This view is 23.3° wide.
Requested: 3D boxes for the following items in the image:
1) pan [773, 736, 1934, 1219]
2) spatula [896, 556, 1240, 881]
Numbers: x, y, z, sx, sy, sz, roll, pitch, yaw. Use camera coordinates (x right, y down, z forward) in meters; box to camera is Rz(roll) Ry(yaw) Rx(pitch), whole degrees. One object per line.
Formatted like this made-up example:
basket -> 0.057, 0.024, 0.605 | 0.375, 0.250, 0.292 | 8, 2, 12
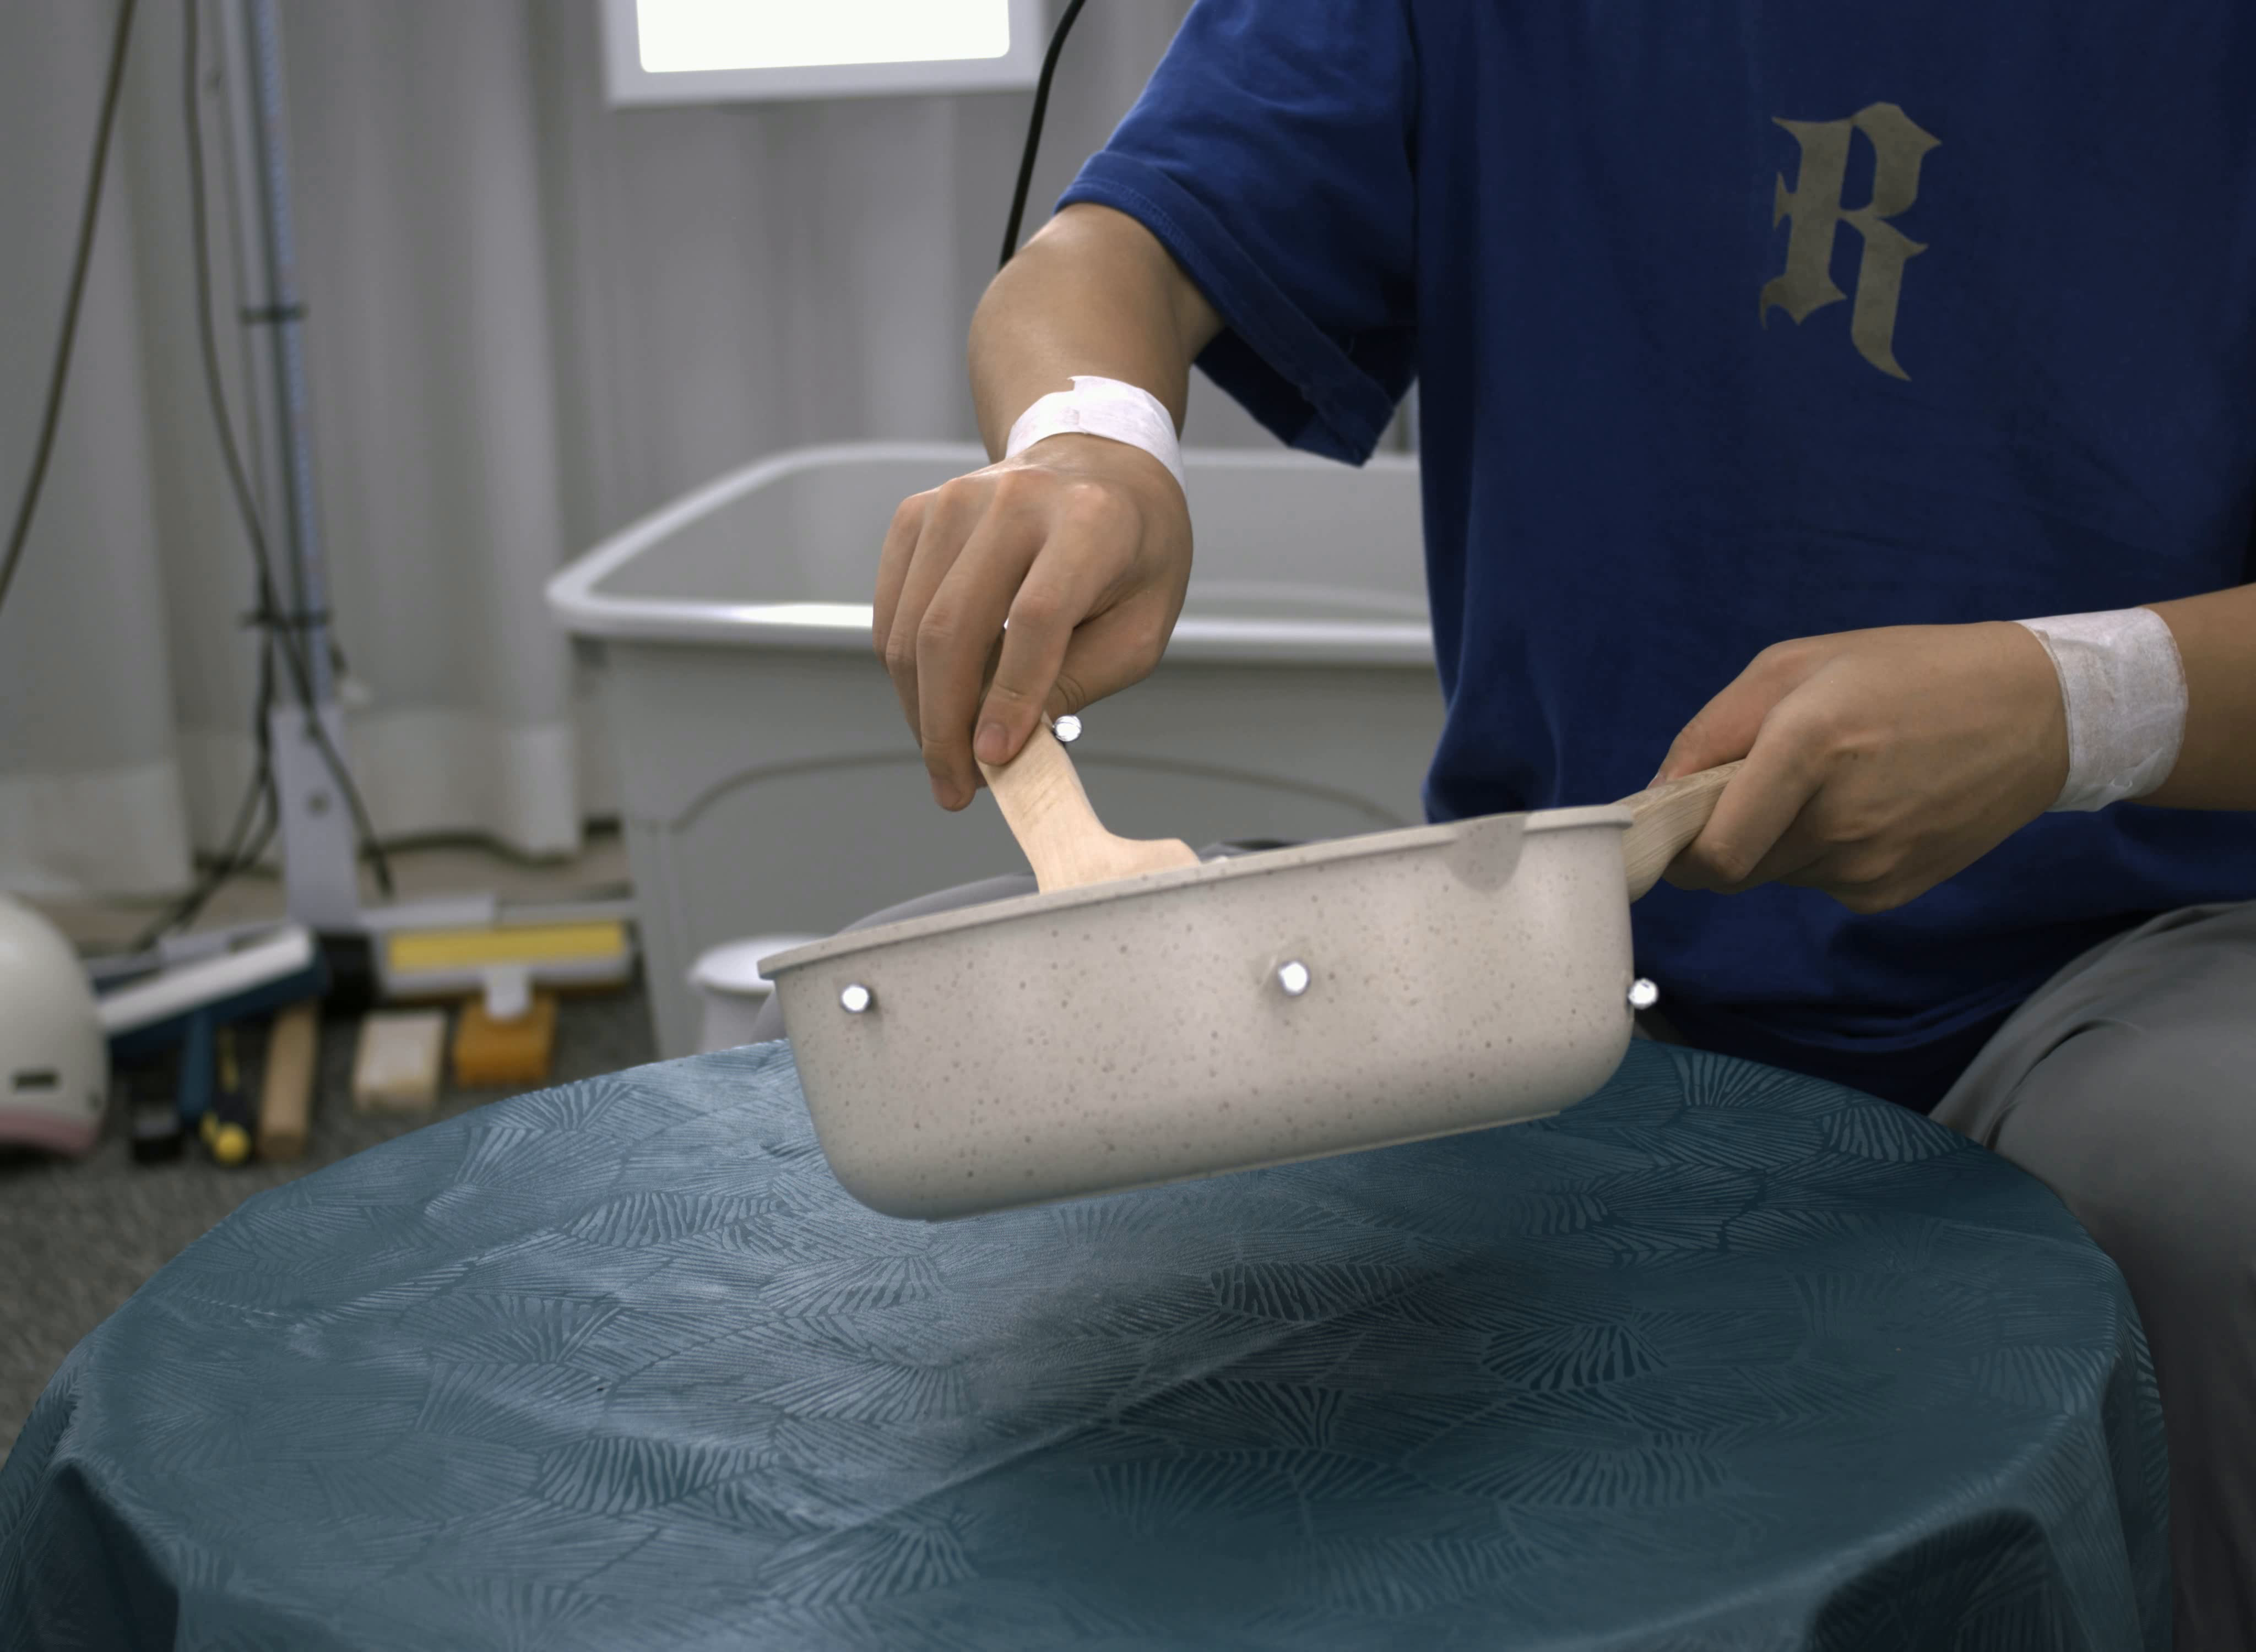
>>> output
pan -> 0.098, 0.039, 1.595 | 0.433, 0.102, 0.263 | -6, -7, -41
spatula -> -0.021, -0.012, 1.617 | 0.010, 0.072, 0.297 | 35, 12, -31
